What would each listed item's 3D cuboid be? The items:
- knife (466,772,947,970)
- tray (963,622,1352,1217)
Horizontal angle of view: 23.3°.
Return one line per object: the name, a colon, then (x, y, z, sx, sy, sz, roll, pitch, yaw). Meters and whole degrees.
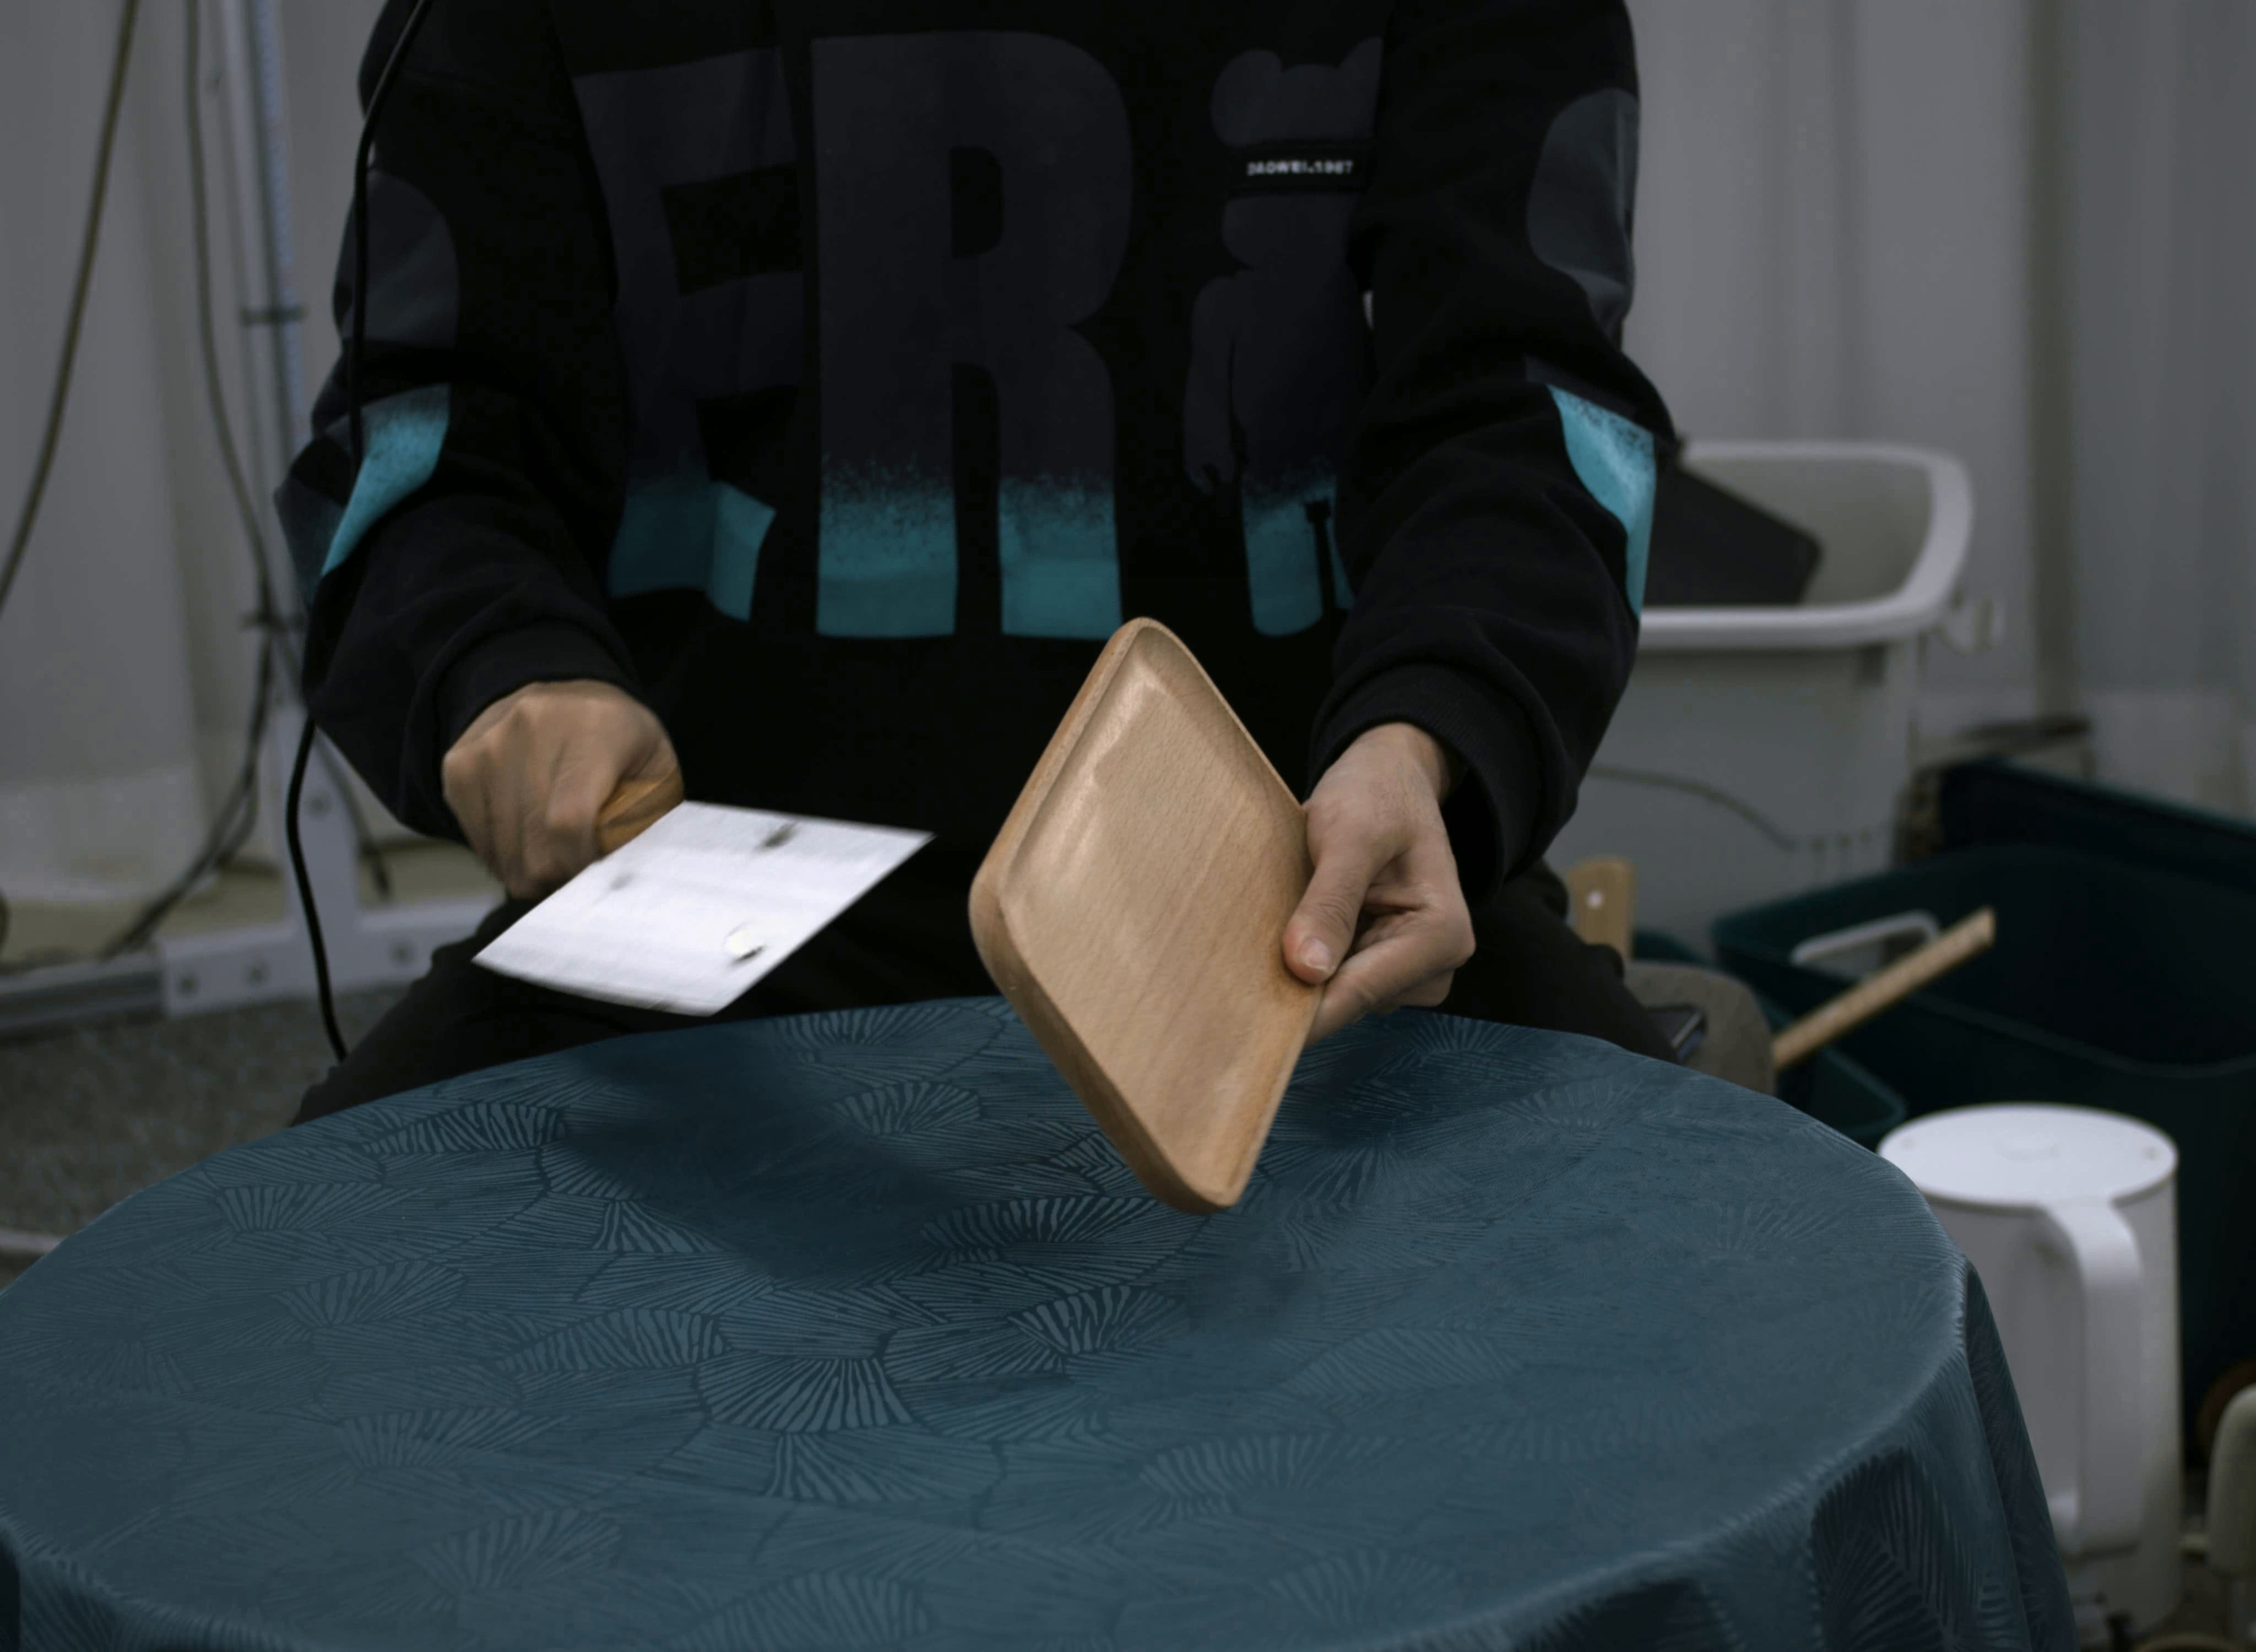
knife: (-0.162, 0.016, 1.812, 0.093, 0.021, 0.307, -39, 21, -23)
tray: (0.011, 0.026, 1.686, 0.023, 0.130, 0.252, -28, 12, 20)
